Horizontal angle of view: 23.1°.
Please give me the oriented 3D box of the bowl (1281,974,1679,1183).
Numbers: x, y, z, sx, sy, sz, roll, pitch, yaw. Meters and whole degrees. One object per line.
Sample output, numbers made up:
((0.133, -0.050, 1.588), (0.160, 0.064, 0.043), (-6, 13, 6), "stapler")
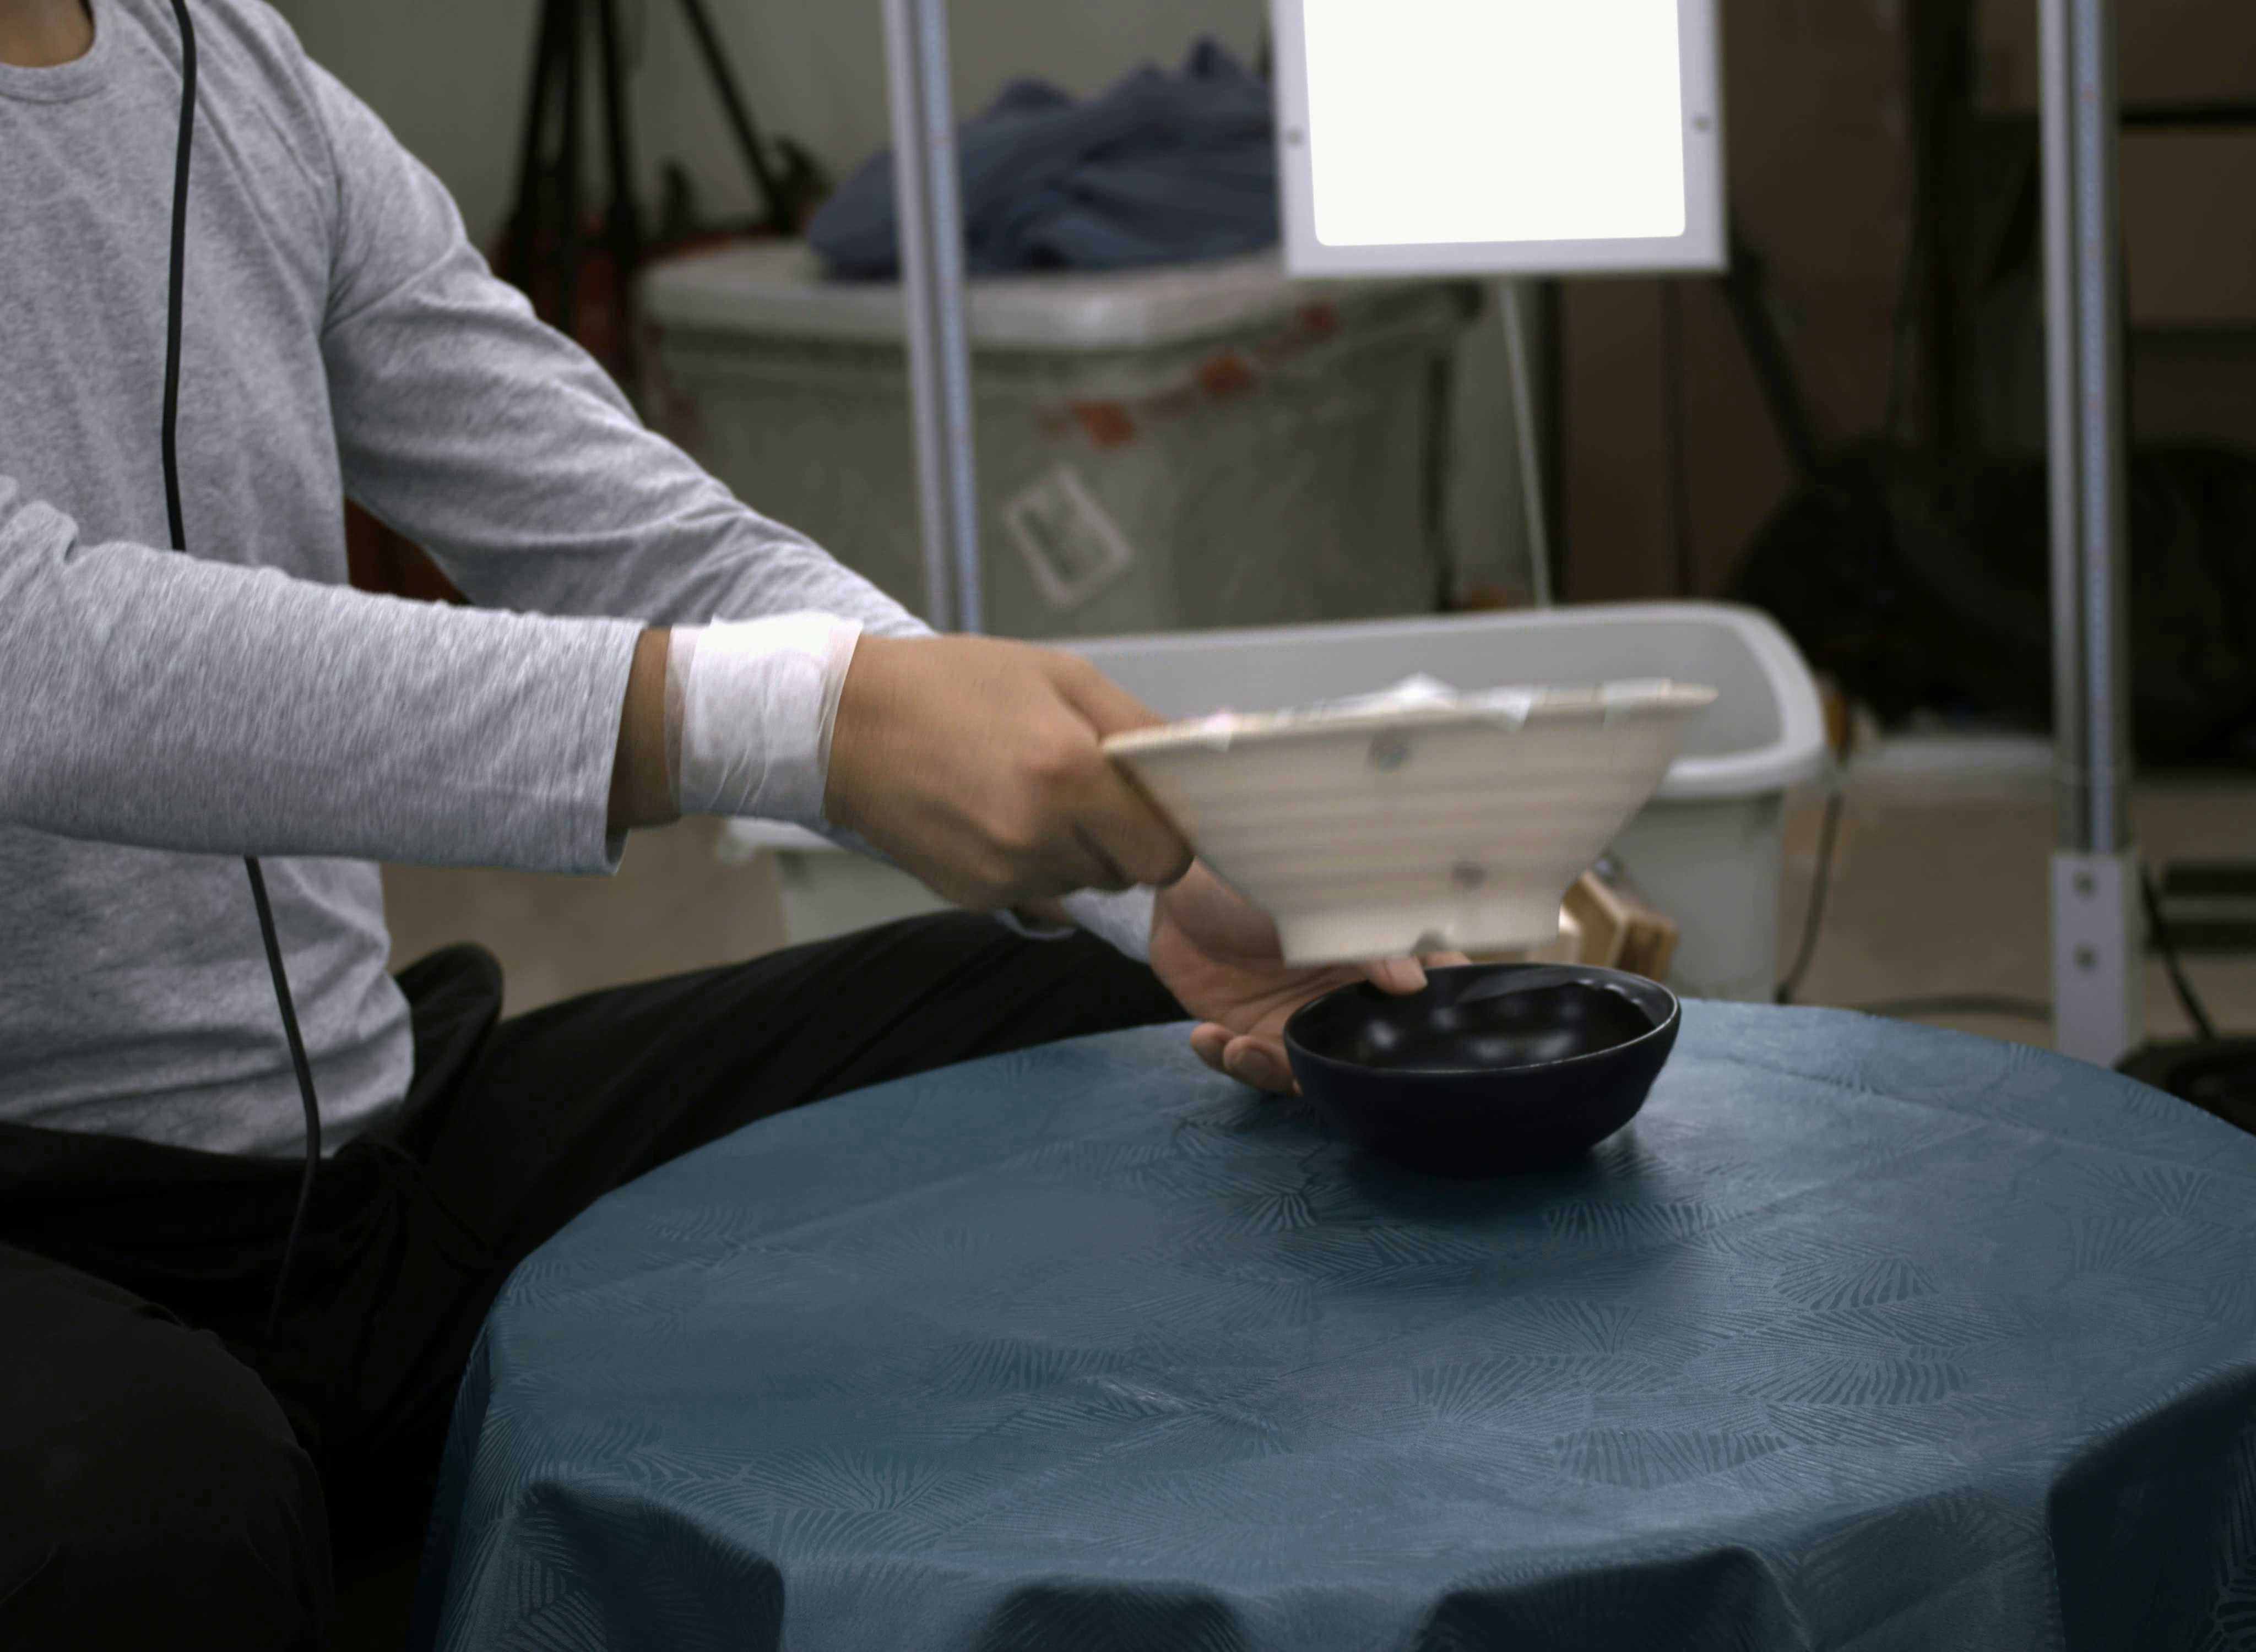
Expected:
((0.125, 0.091, 1.909), (0.139, 0.050, 0.140), (-7, 10, 0), "bowl")

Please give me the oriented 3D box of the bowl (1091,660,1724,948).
((0.092, -0.003, 1.754), (0.203, 0.078, 0.204), (-4, -4, -2), "bowl")
